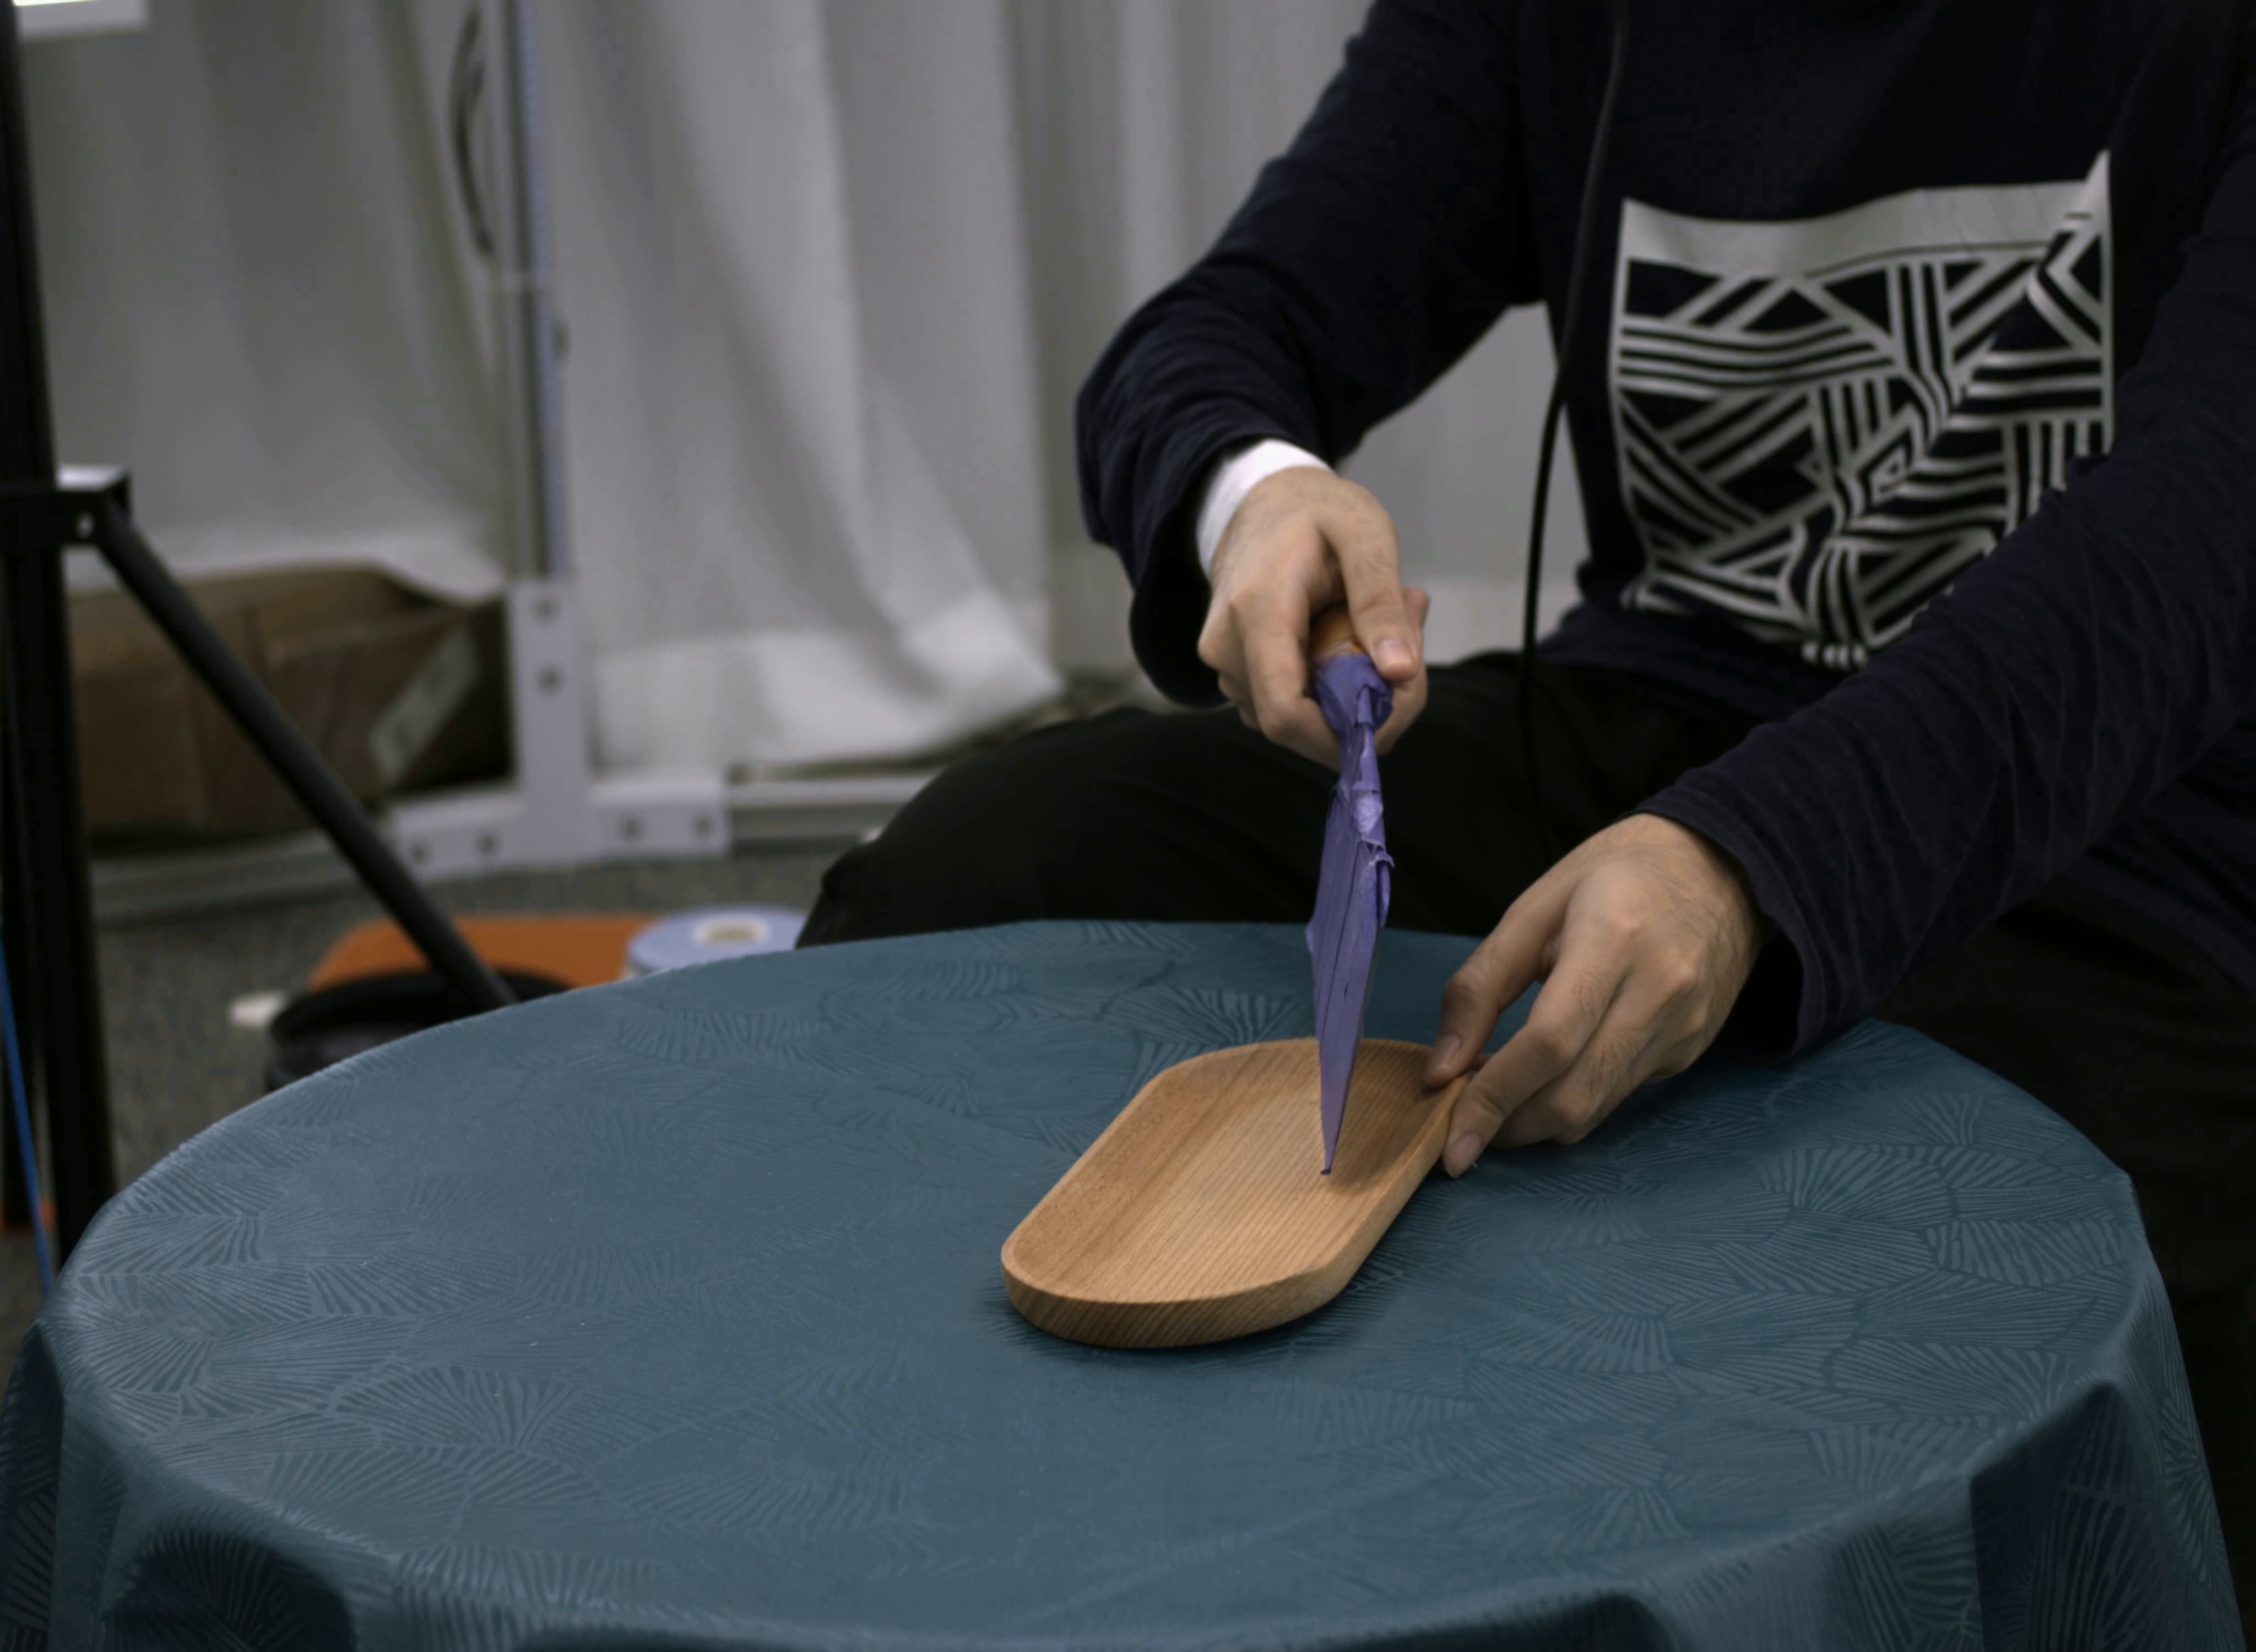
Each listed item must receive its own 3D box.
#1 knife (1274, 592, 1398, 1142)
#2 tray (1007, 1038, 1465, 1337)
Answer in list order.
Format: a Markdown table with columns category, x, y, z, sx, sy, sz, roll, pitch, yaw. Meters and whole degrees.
| category | x | y | z | sx | sy | sz | roll | pitch | yaw |
| --- | --- | --- | --- | --- | --- | --- | --- | --- | --- |
| knife | 0.062 | 0.009 | 1.658 | 0.032 | 0.104 | 0.316 | 12 | 18 | -1 |
| tray | 0.034 | 0.103 | 1.540 | 0.102 | 0.020 | 0.229 | 0 | 14 | 16 |
